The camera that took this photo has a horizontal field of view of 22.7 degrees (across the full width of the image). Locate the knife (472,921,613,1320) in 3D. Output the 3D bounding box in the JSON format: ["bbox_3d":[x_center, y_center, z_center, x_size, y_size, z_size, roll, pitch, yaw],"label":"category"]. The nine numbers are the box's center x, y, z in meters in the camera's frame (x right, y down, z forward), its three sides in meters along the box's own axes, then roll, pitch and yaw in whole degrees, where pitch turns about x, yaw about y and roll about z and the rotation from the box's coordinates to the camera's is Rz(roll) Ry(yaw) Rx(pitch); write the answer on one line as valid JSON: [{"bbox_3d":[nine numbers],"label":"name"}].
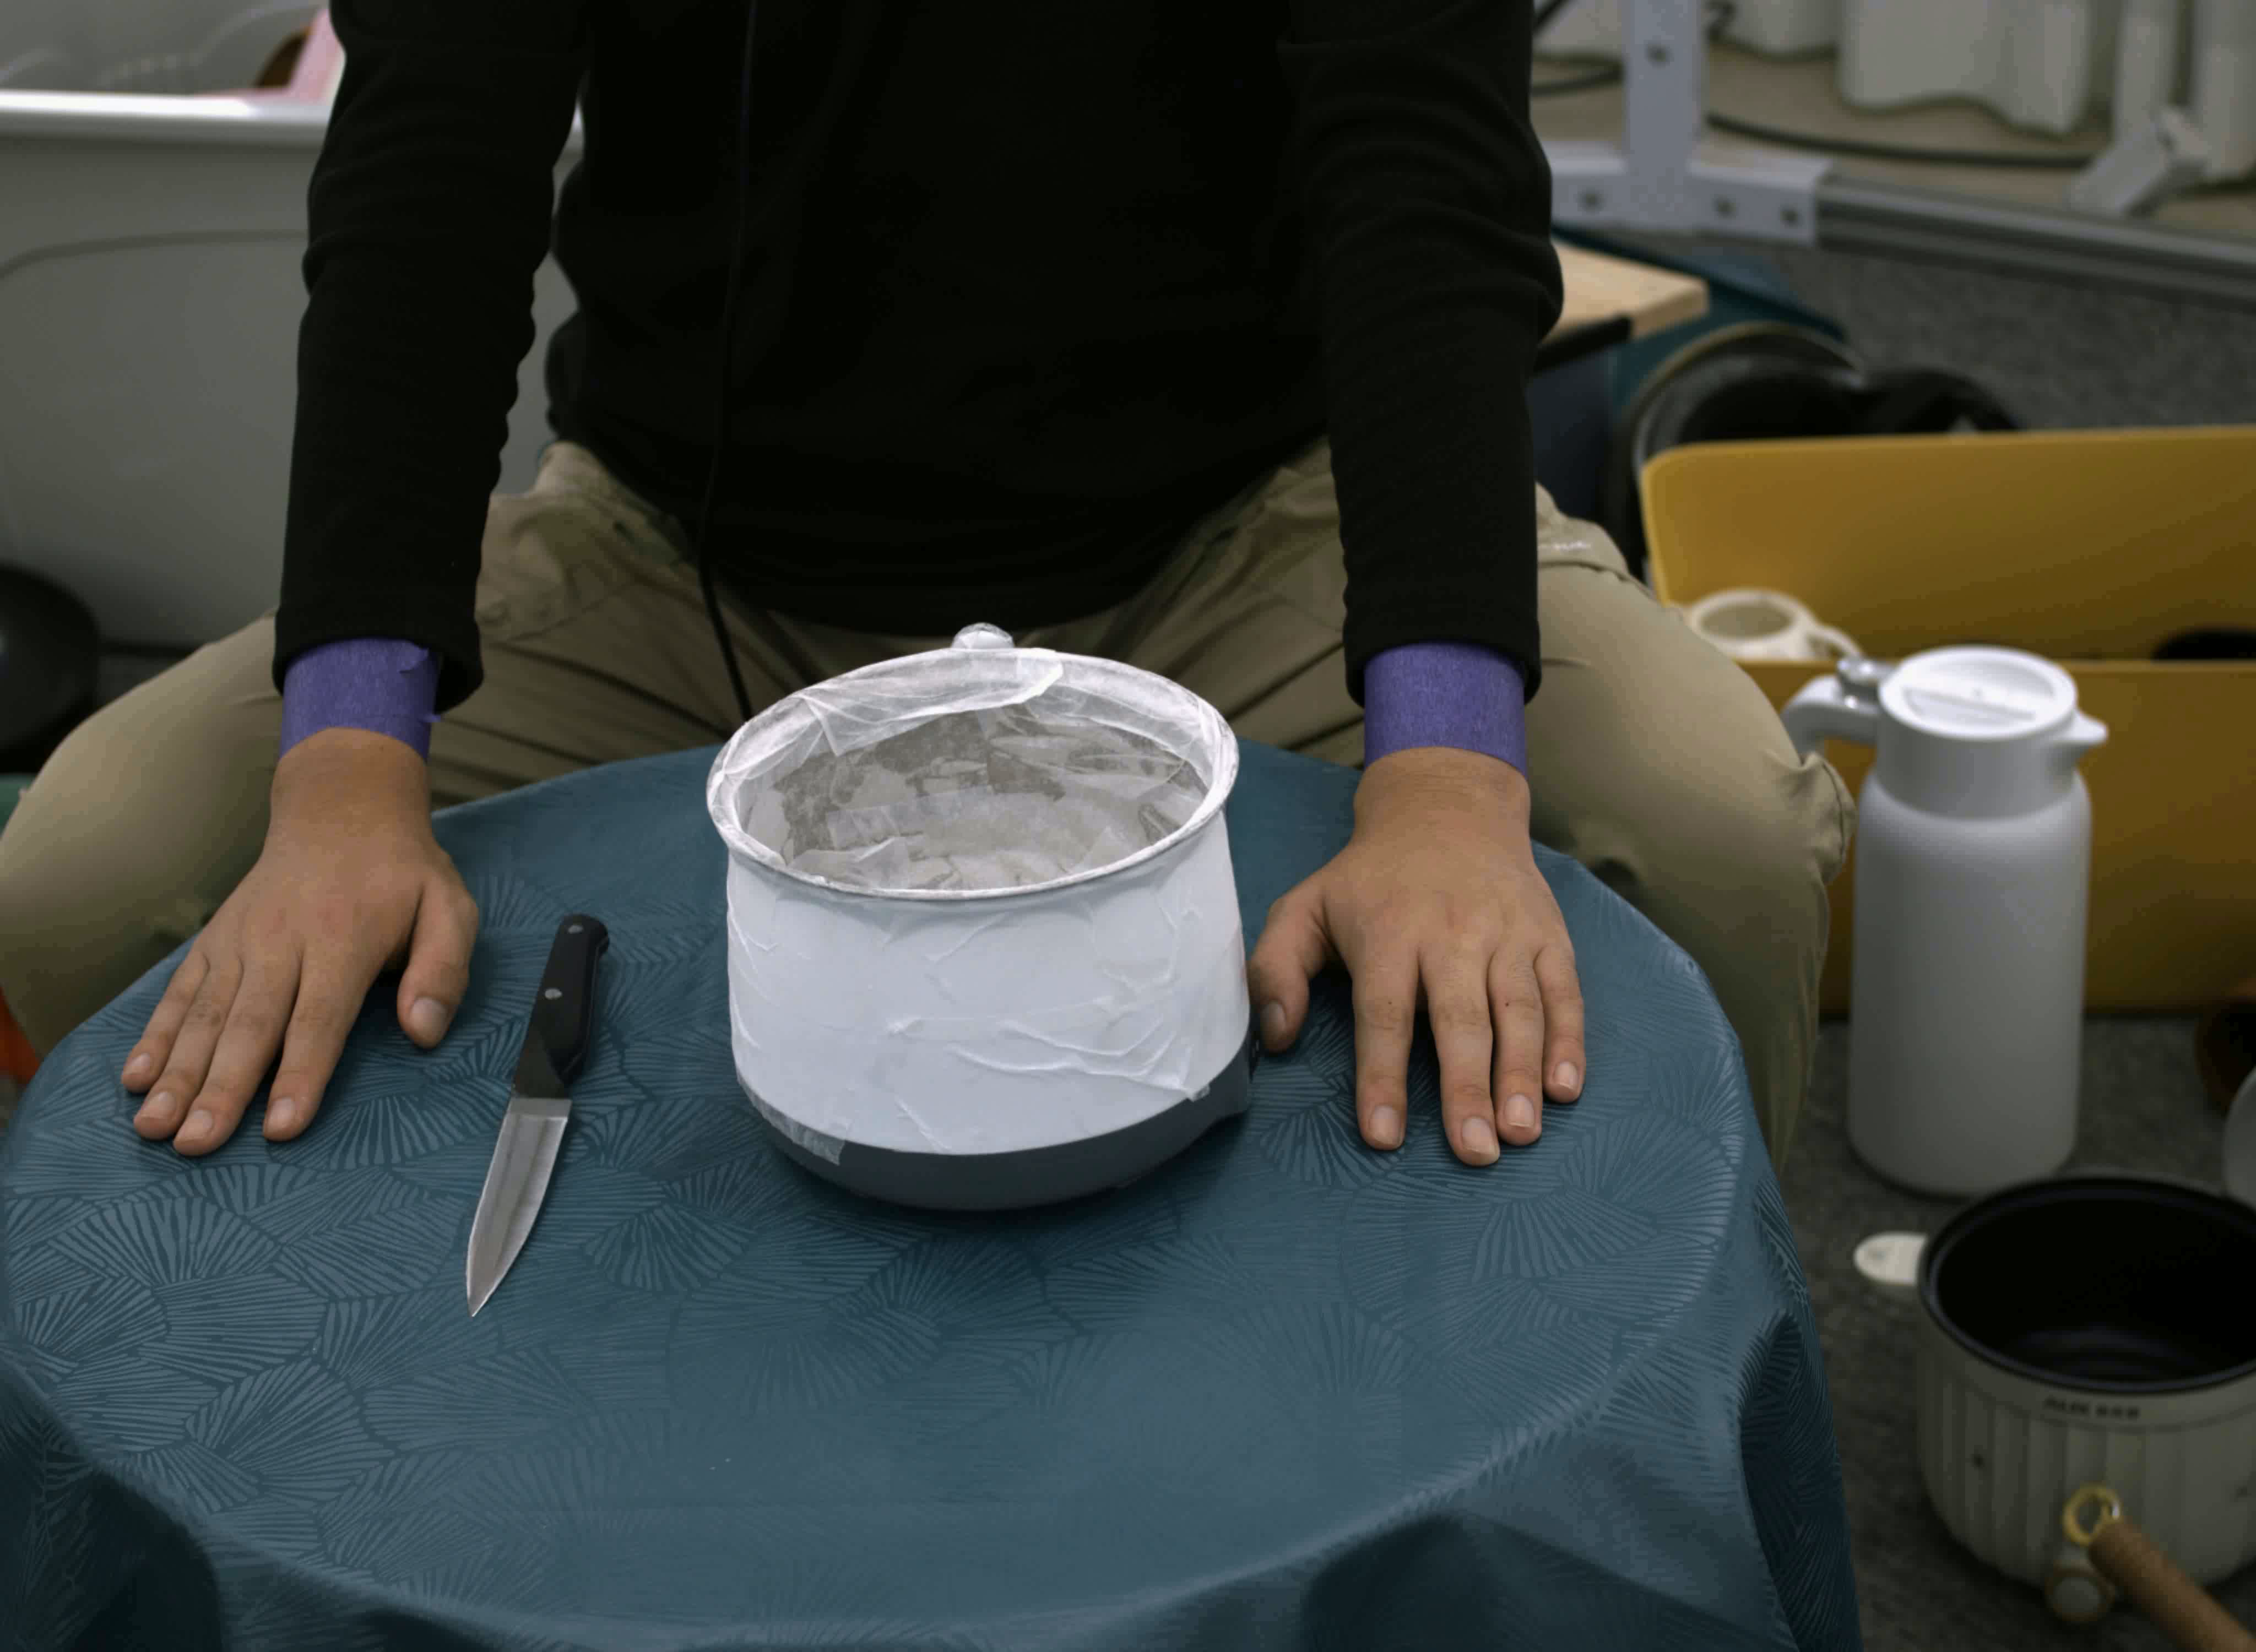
[{"bbox_3d":[-0.202,0.099,1.910,0.024,0.016,0.242,-1,30,5],"label":"knife"}]

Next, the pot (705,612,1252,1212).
[{"bbox_3d":[-0.049,0.022,1.904,0.178,0.135,0.237,-2,28,0],"label":"pot"}]
